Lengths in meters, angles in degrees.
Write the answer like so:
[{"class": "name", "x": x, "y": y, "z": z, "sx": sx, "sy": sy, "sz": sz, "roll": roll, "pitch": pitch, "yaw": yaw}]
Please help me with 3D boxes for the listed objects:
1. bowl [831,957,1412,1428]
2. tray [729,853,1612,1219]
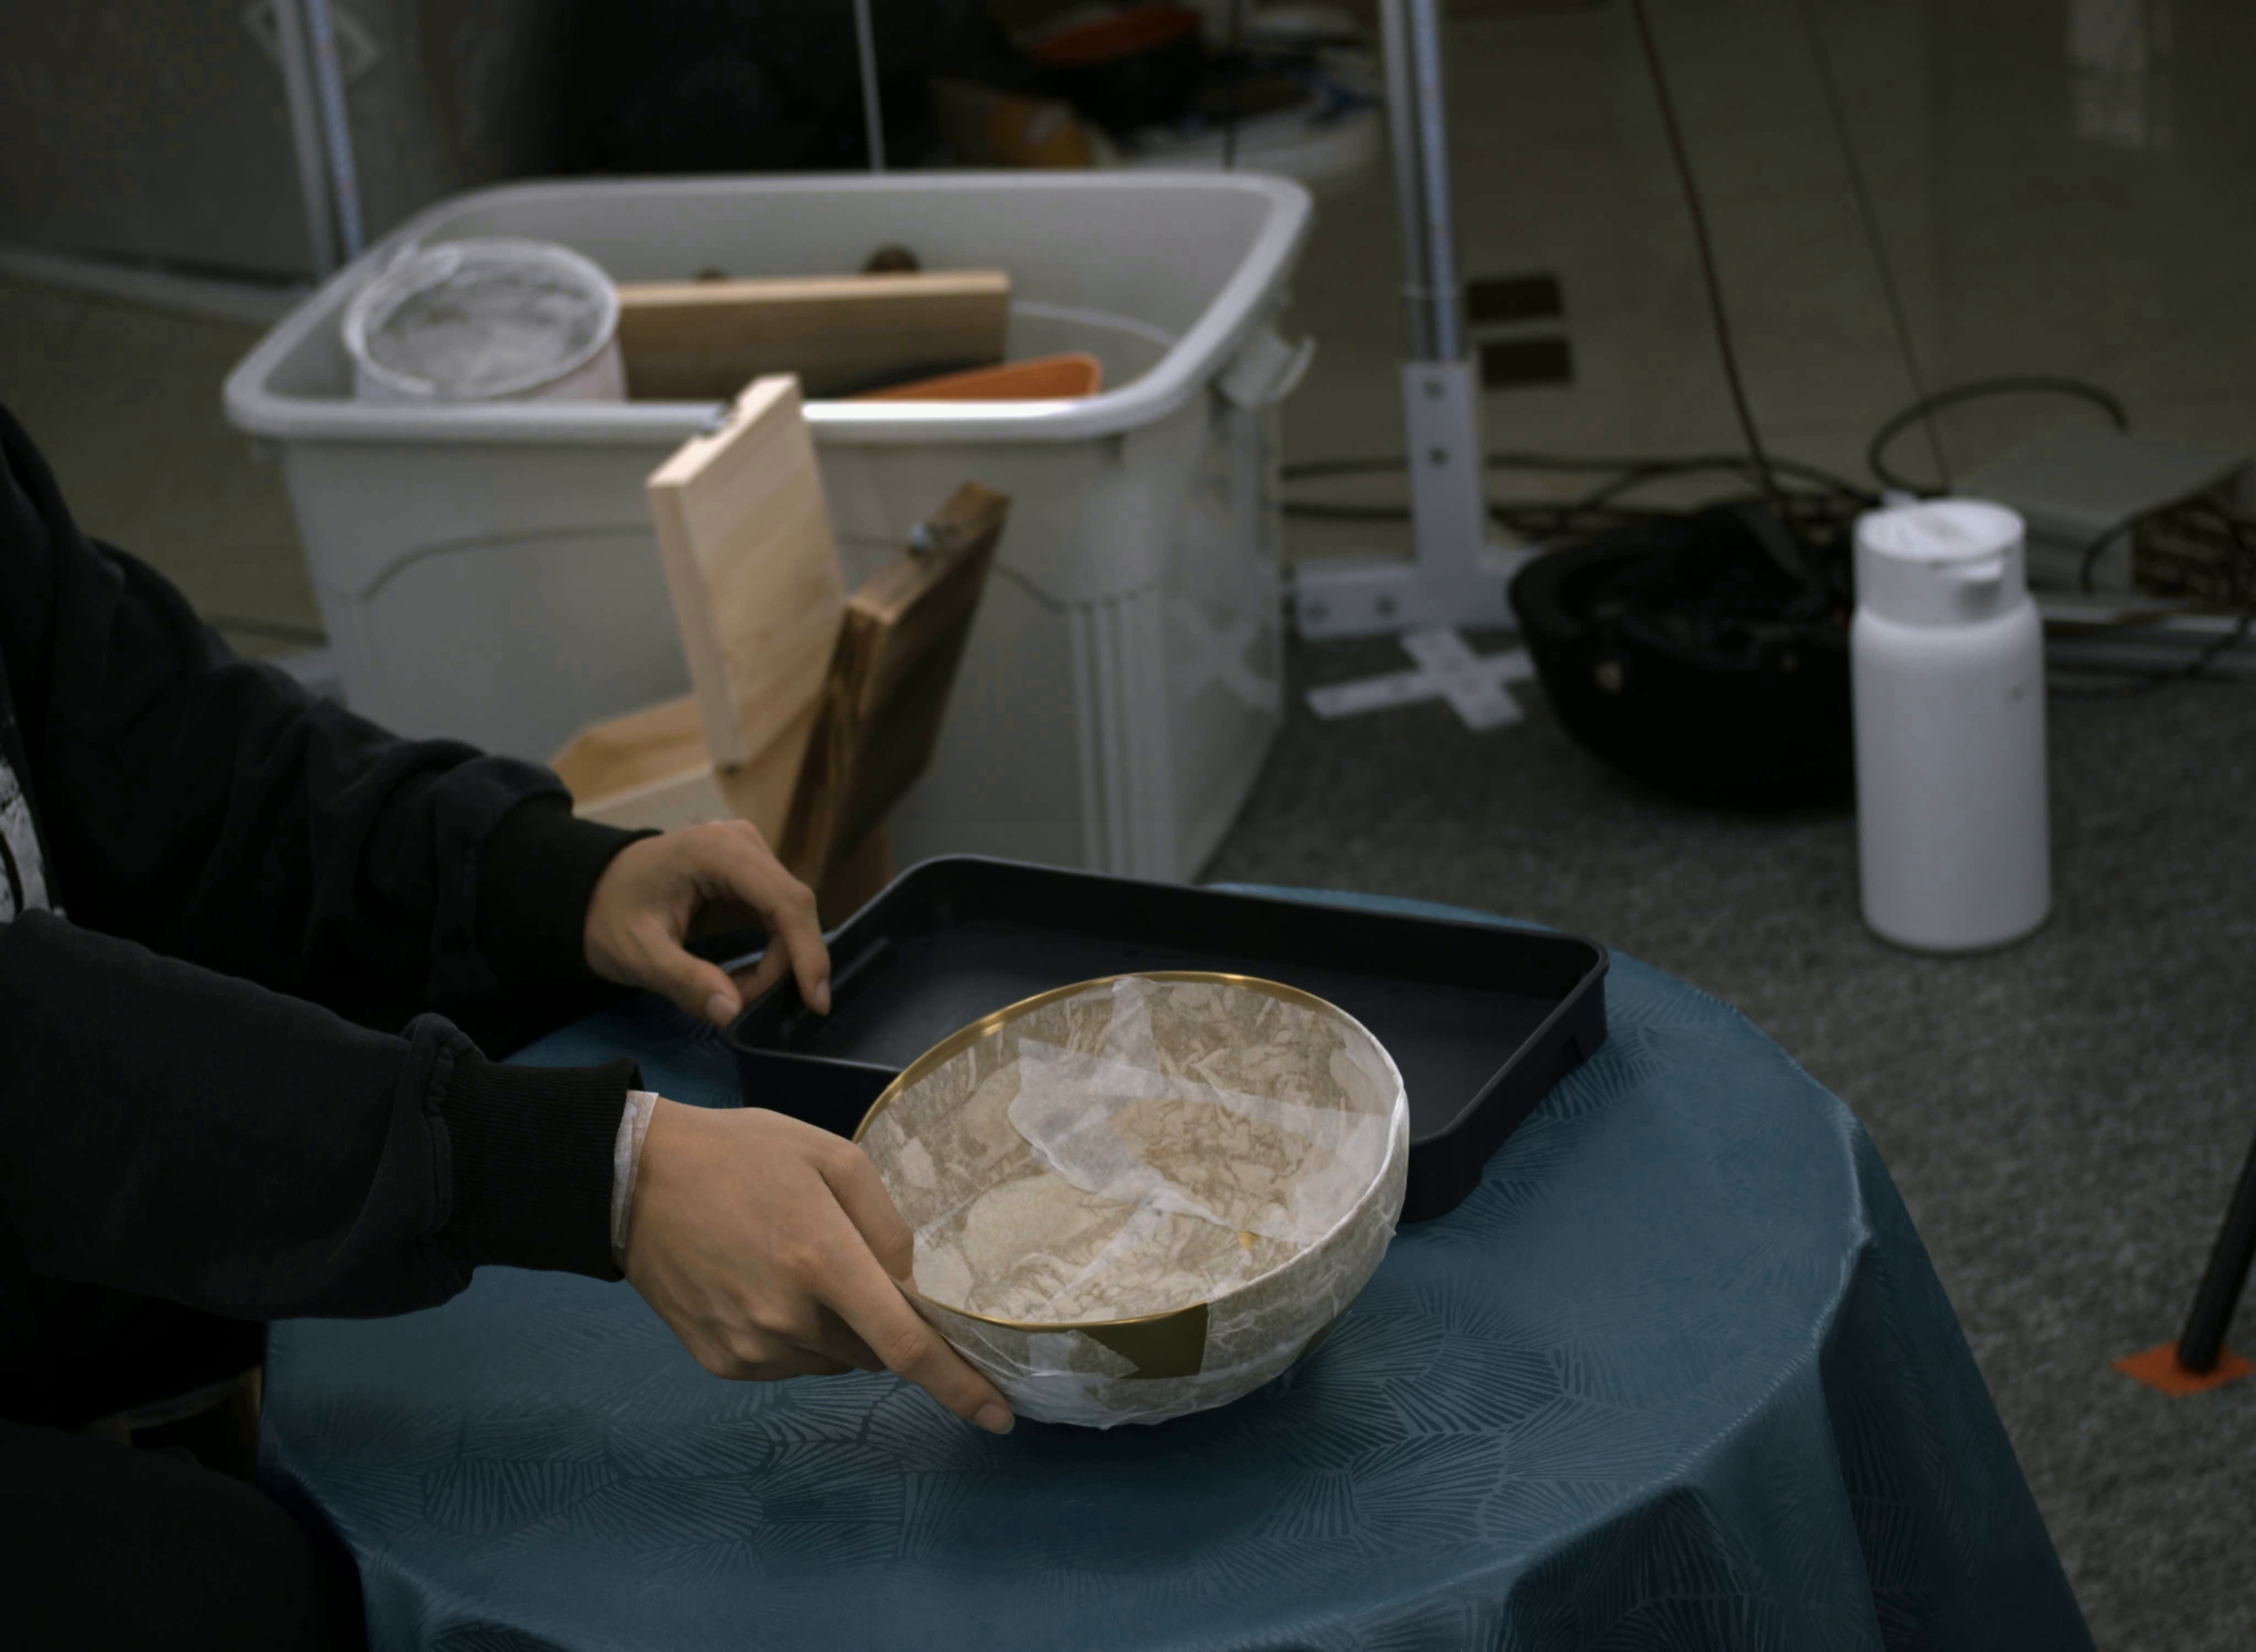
[{"class": "bowl", "x": 0.002, "y": 0.145, "z": 2.017, "sx": 0.214, "sy": 0.096, "sz": 0.211, "roll": -9, "pitch": 36, "yaw": 6}, {"class": "tray", "x": 0.017, "y": 0.079, "z": 2.230, "sx": 0.317, "sy": 0.037, "sz": 0.182, "roll": 7, "pitch": 29, "yaw": 29}]
